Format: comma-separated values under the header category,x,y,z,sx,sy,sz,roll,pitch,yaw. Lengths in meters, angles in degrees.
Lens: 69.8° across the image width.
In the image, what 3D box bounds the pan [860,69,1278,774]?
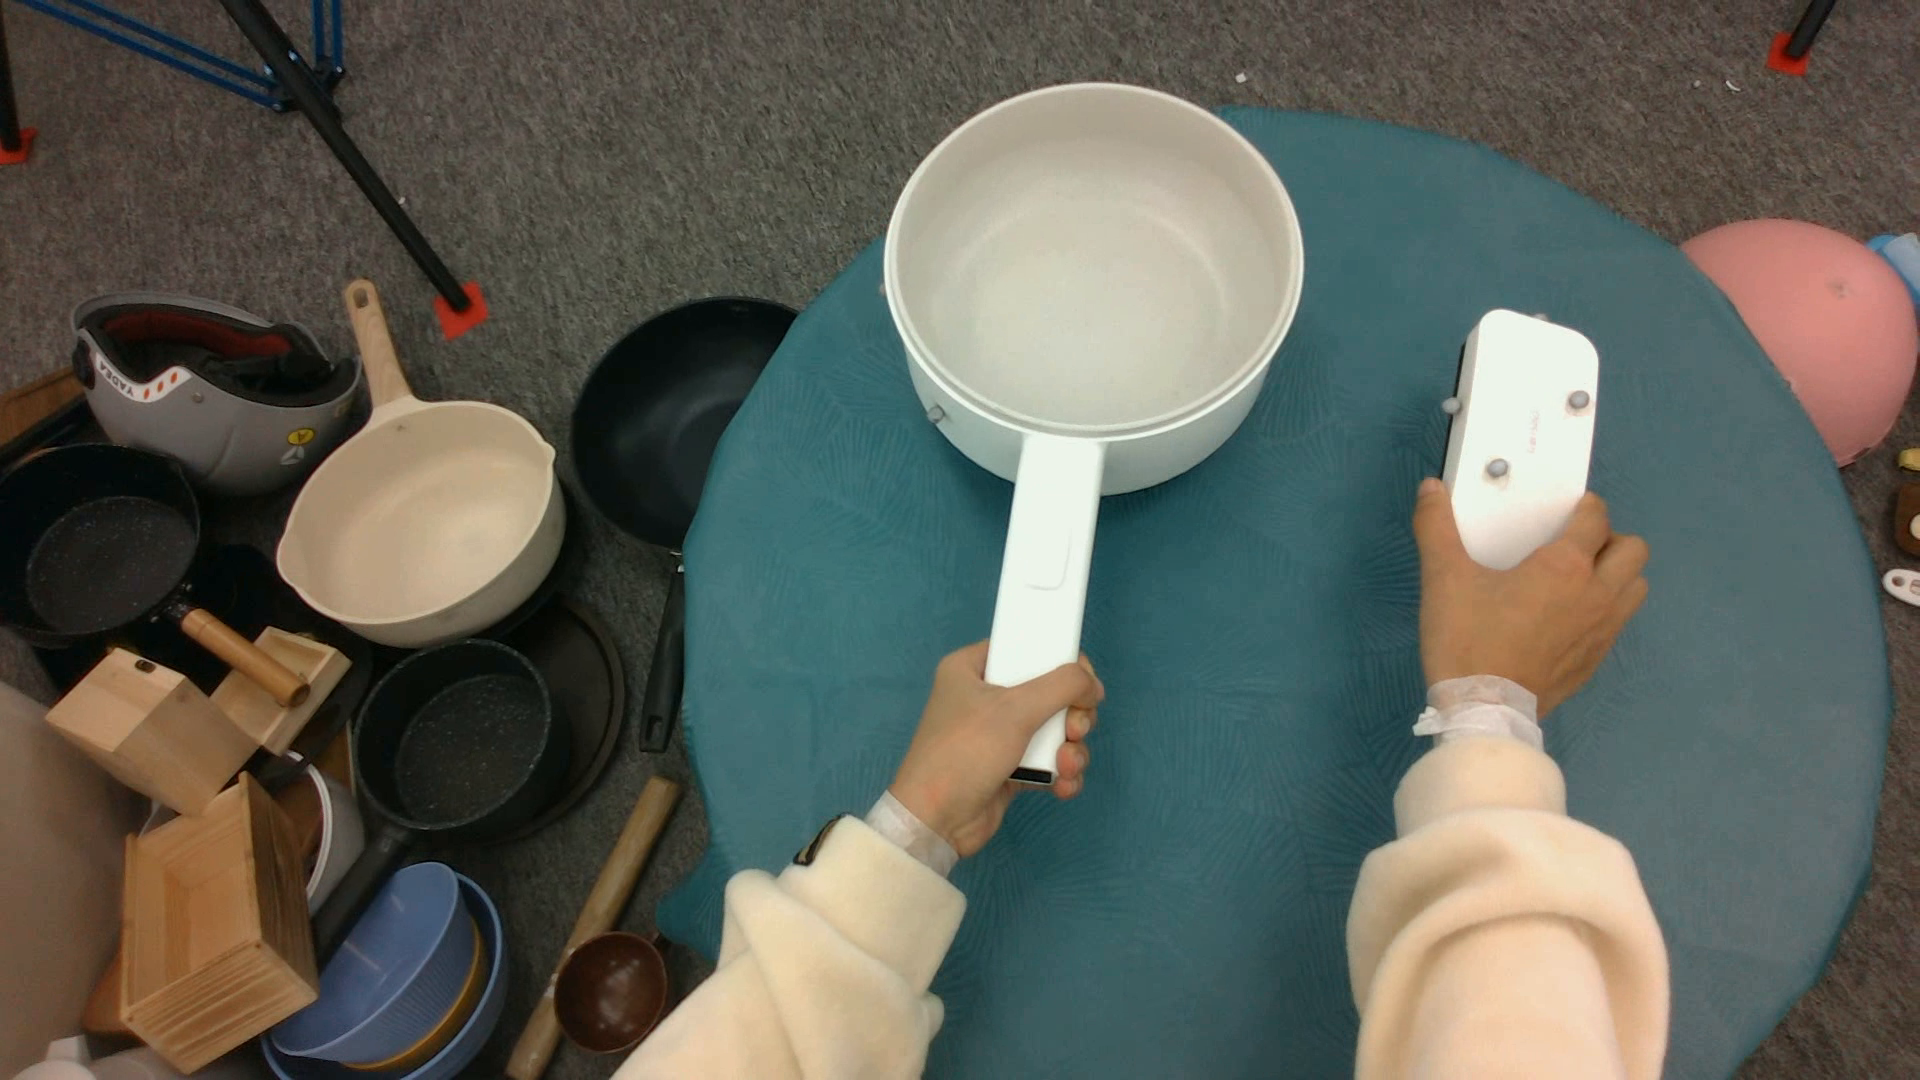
category,x,y,z,sx,sy,sz,roll,pitch,yaw
pan,0.043,-0.058,0.679,0.201,0.102,0.356,7,70,7

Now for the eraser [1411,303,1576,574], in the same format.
category,x,y,z,sx,sy,sz,roll,pitch,yaw
eraser,0.255,-0.050,0.662,0.063,0.034,0.131,16,72,-1
